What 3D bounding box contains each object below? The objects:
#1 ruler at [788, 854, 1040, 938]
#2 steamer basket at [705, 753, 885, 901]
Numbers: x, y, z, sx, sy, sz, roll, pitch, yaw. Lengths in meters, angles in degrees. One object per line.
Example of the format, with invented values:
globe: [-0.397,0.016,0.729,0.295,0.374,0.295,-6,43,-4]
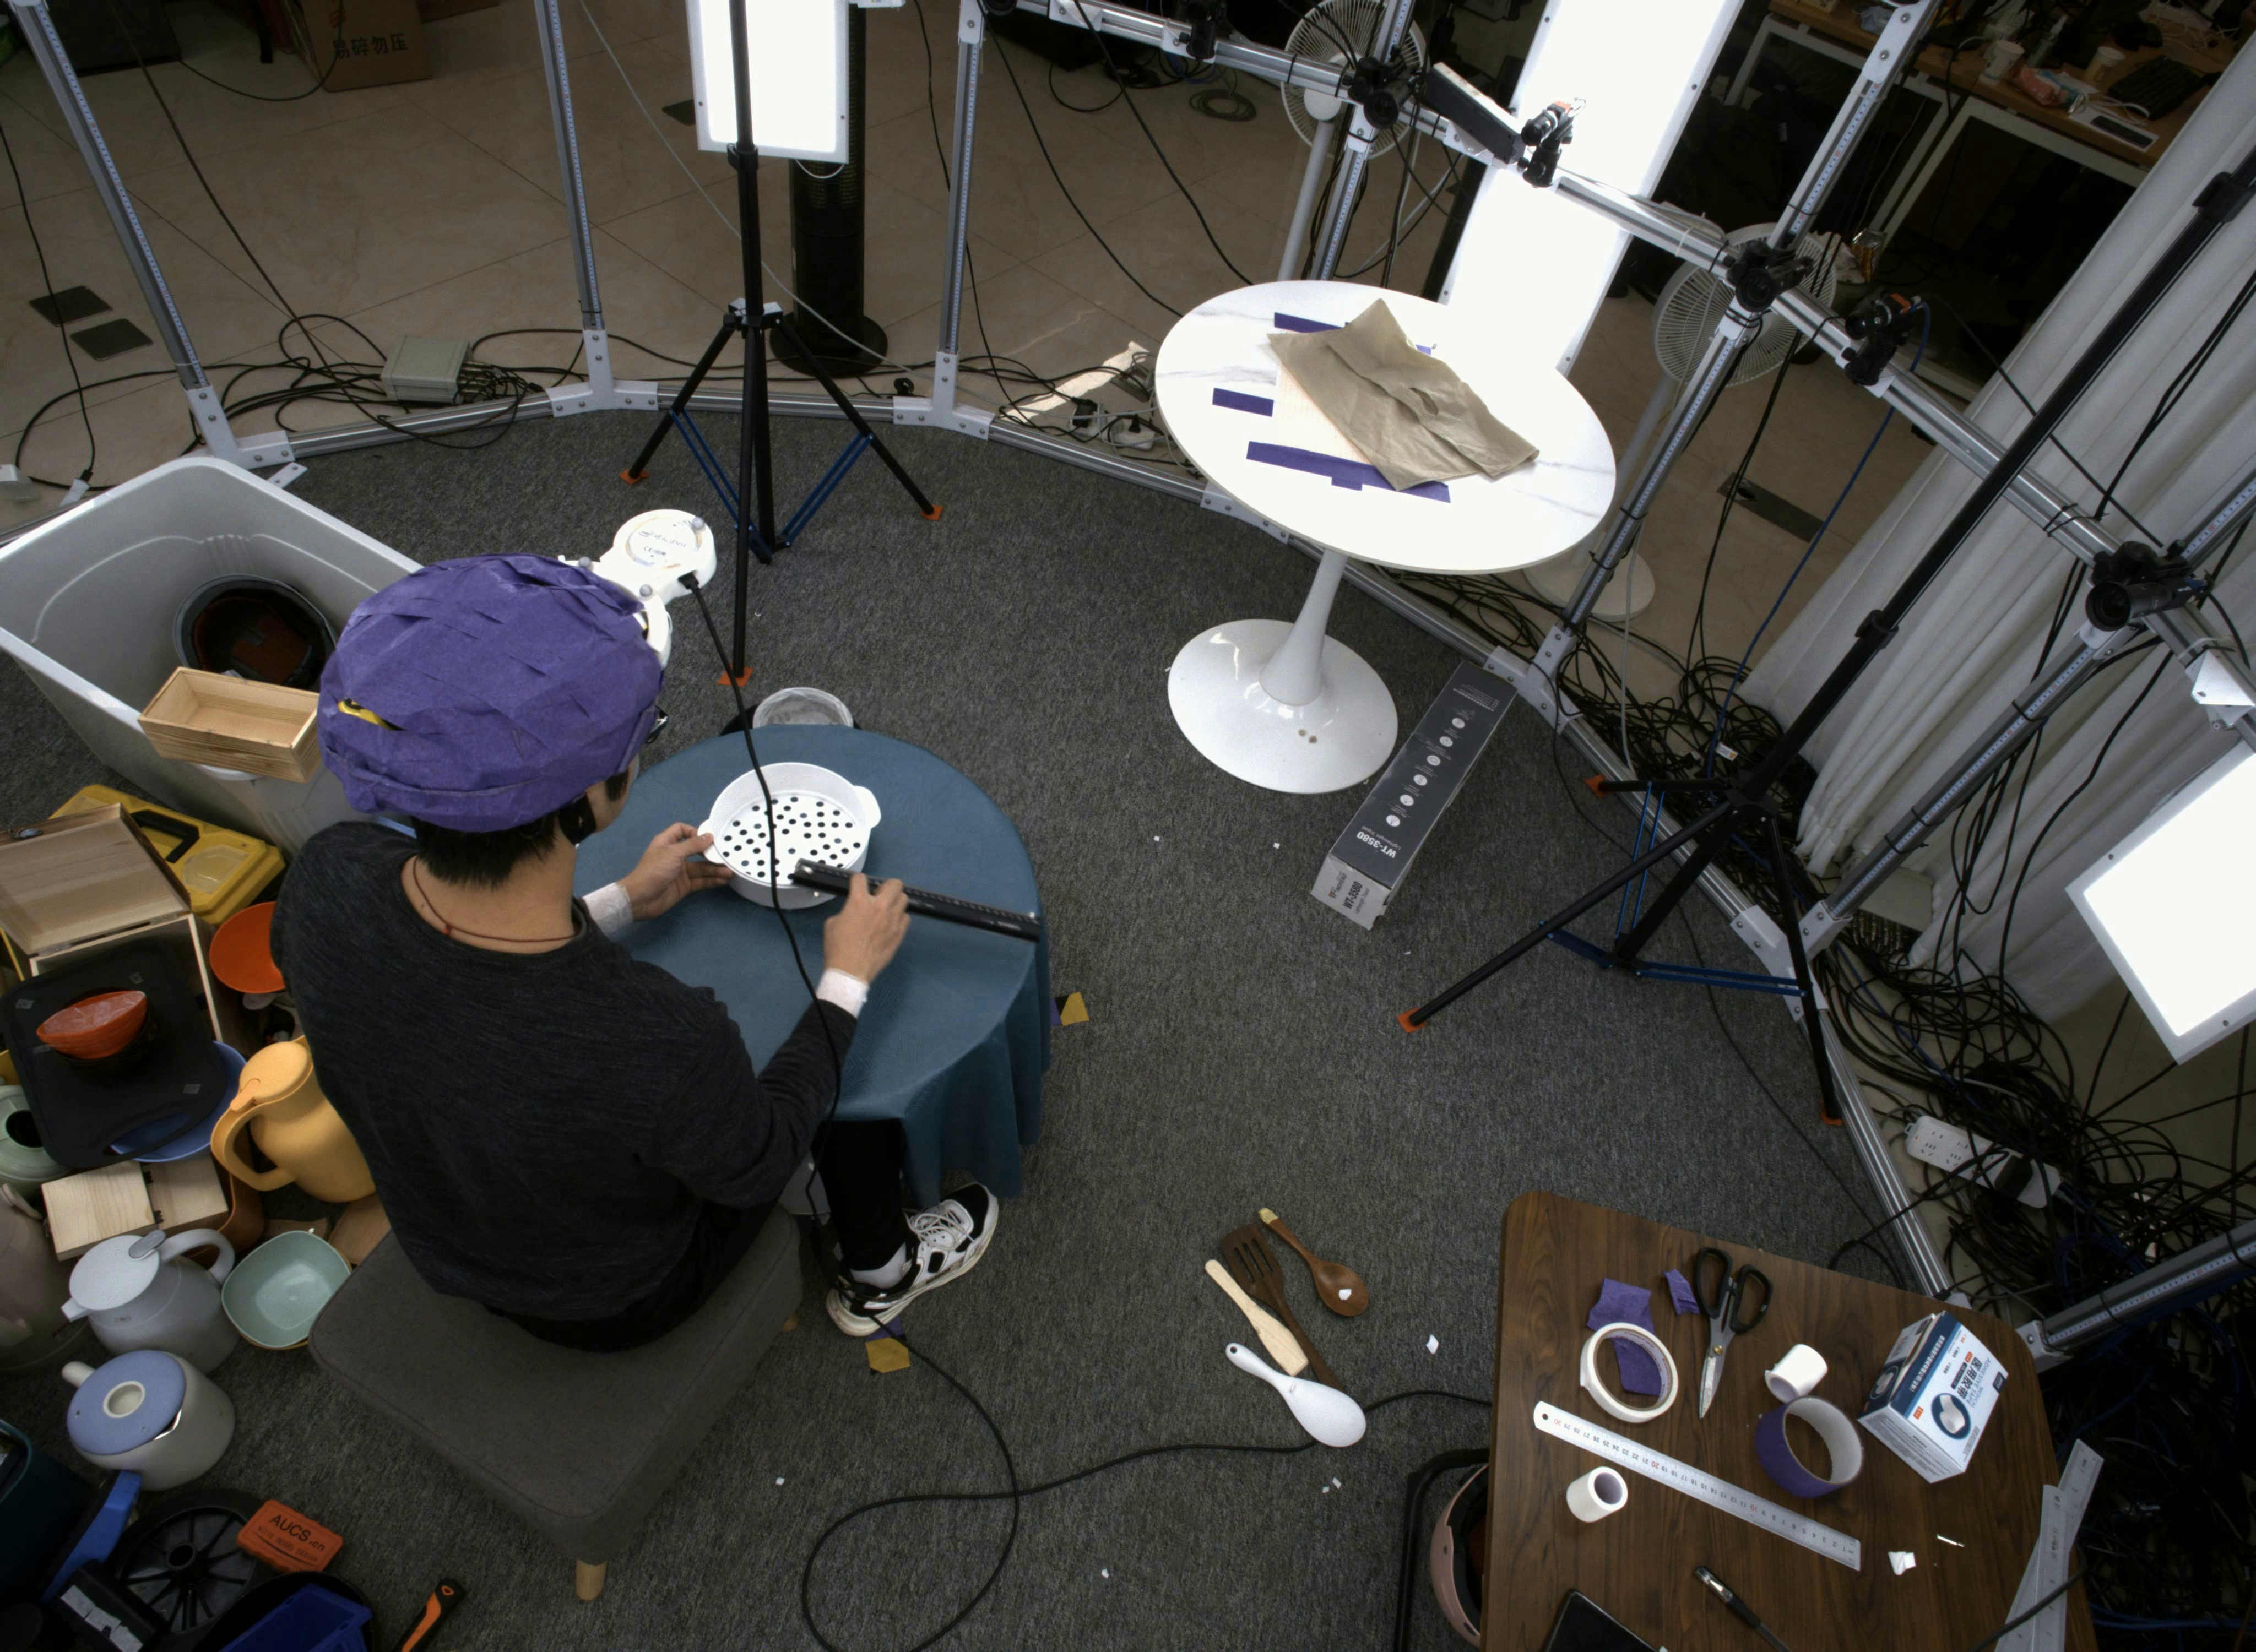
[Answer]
ruler: [-0.260,0.082,1.602,0.312,0.017,0.039,14,58,-9]
steamer basket: [-0.427,0.000,1.673,0.232,0.070,0.197,-19,60,-29]
